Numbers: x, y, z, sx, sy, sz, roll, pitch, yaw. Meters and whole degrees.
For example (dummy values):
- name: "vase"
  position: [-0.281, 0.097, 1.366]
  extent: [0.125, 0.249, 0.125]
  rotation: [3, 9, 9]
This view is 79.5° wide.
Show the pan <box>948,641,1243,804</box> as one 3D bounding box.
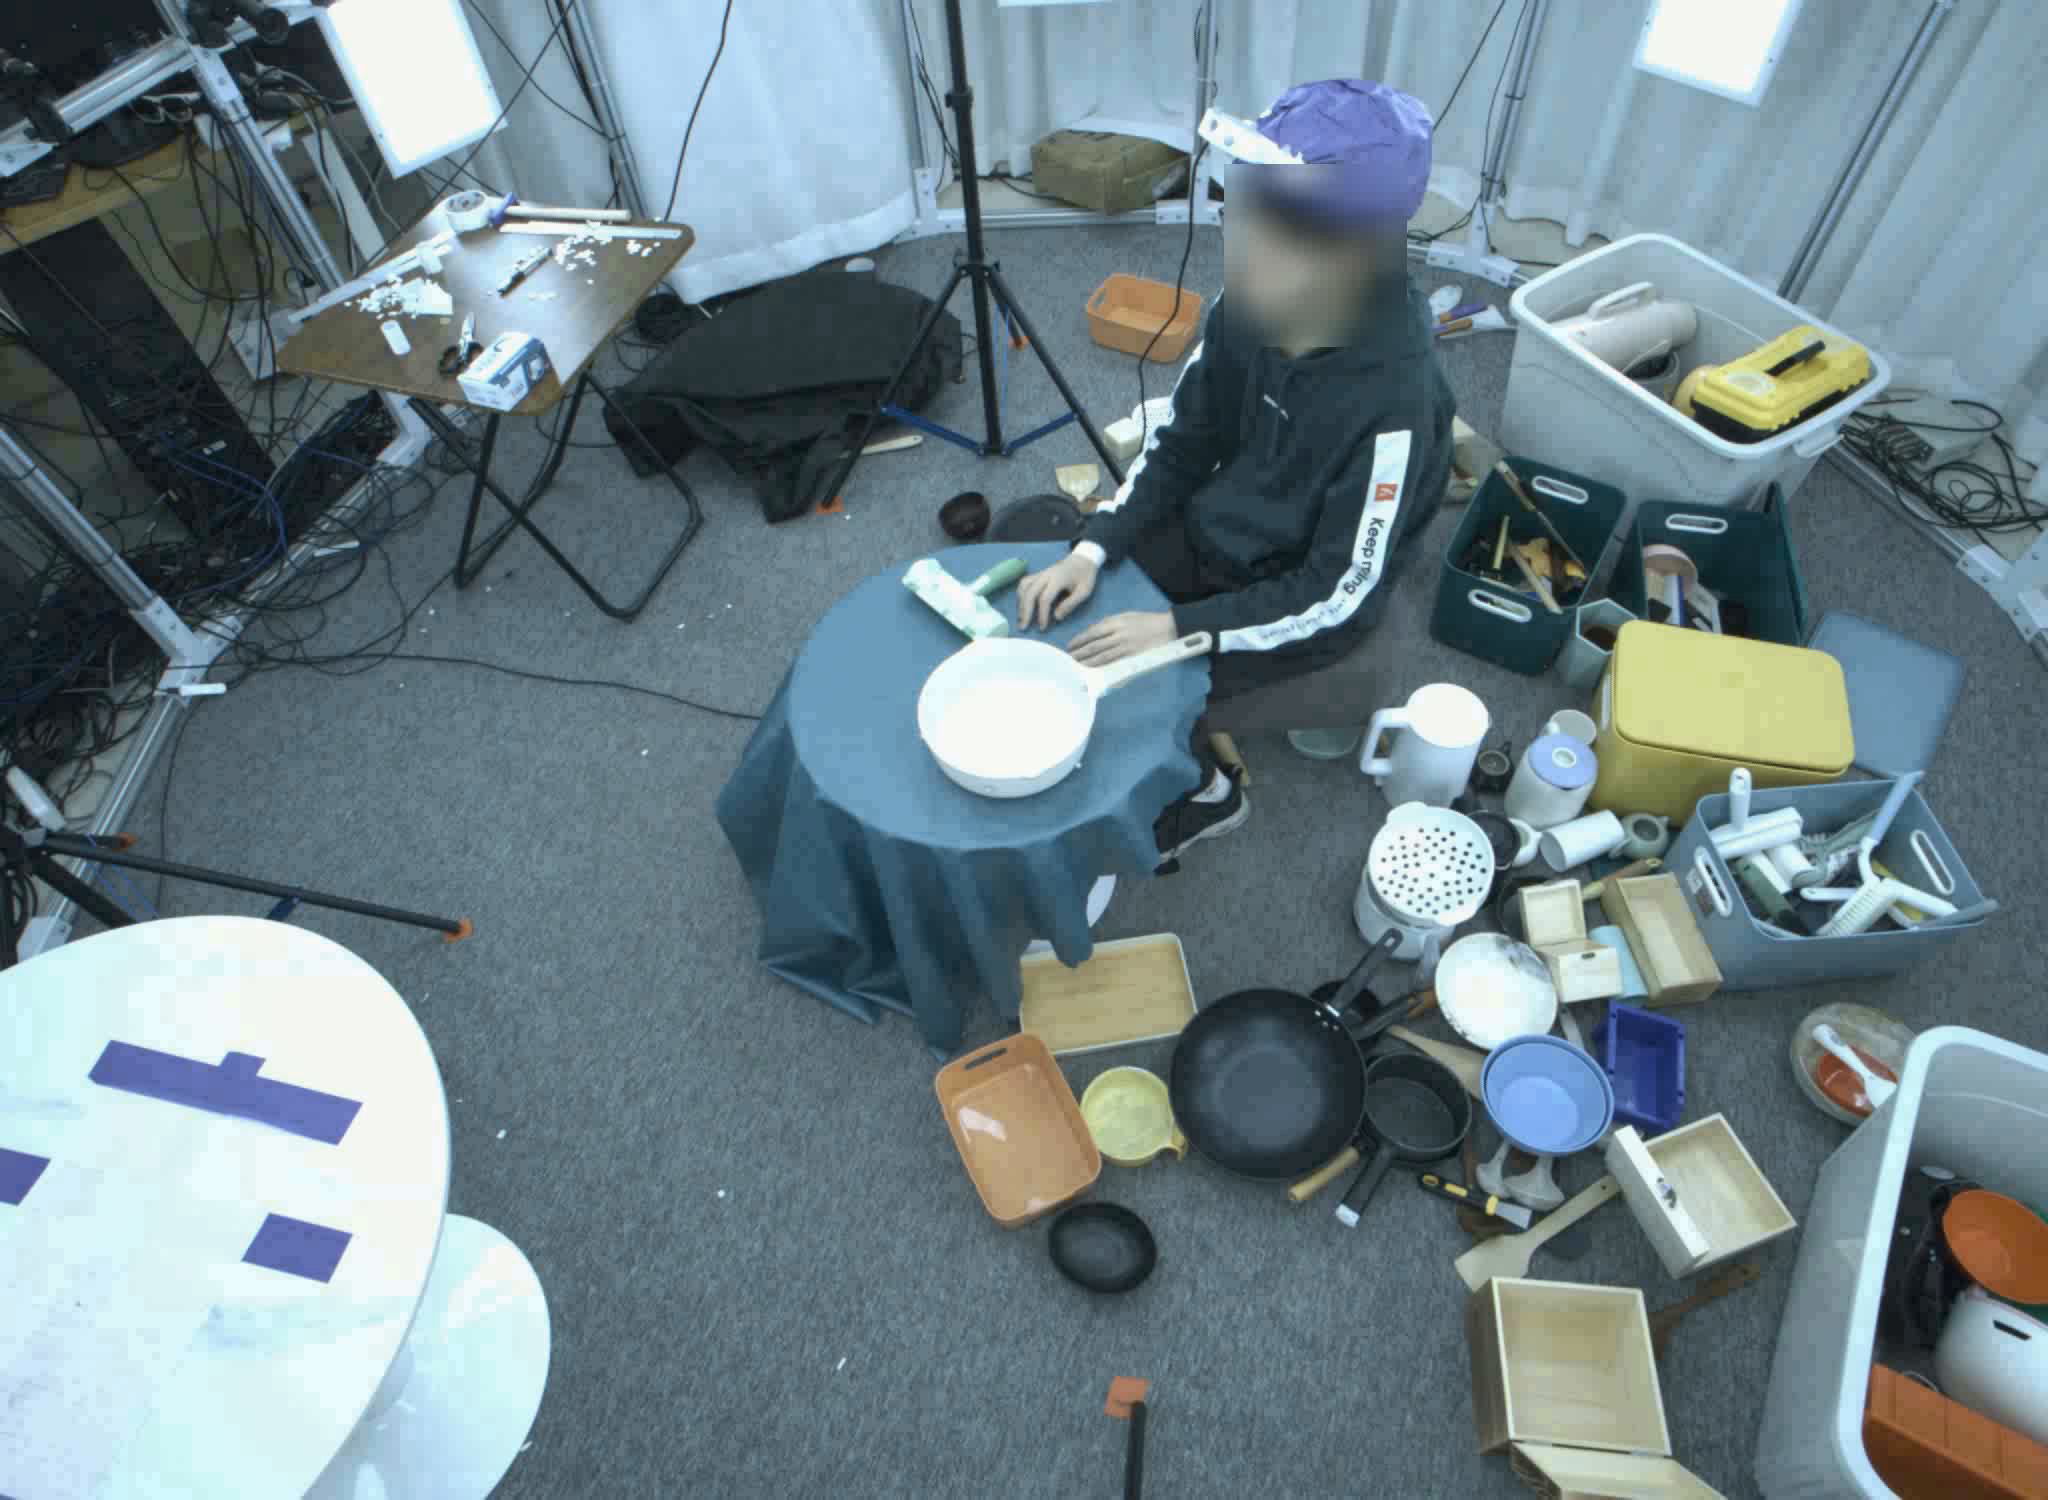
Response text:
- name: "pan"
  position: [0.108, -0.059, 1.760]
  extent: [0.437, 0.103, 0.259]
  rotation: [-15, 54, -9]

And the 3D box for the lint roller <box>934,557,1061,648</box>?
- name: "lint roller"
  position: [-0.016, -0.267, 1.927]
  extent: [0.184, 0.083, 0.195]
  rotation: [-39, 61, -17]
